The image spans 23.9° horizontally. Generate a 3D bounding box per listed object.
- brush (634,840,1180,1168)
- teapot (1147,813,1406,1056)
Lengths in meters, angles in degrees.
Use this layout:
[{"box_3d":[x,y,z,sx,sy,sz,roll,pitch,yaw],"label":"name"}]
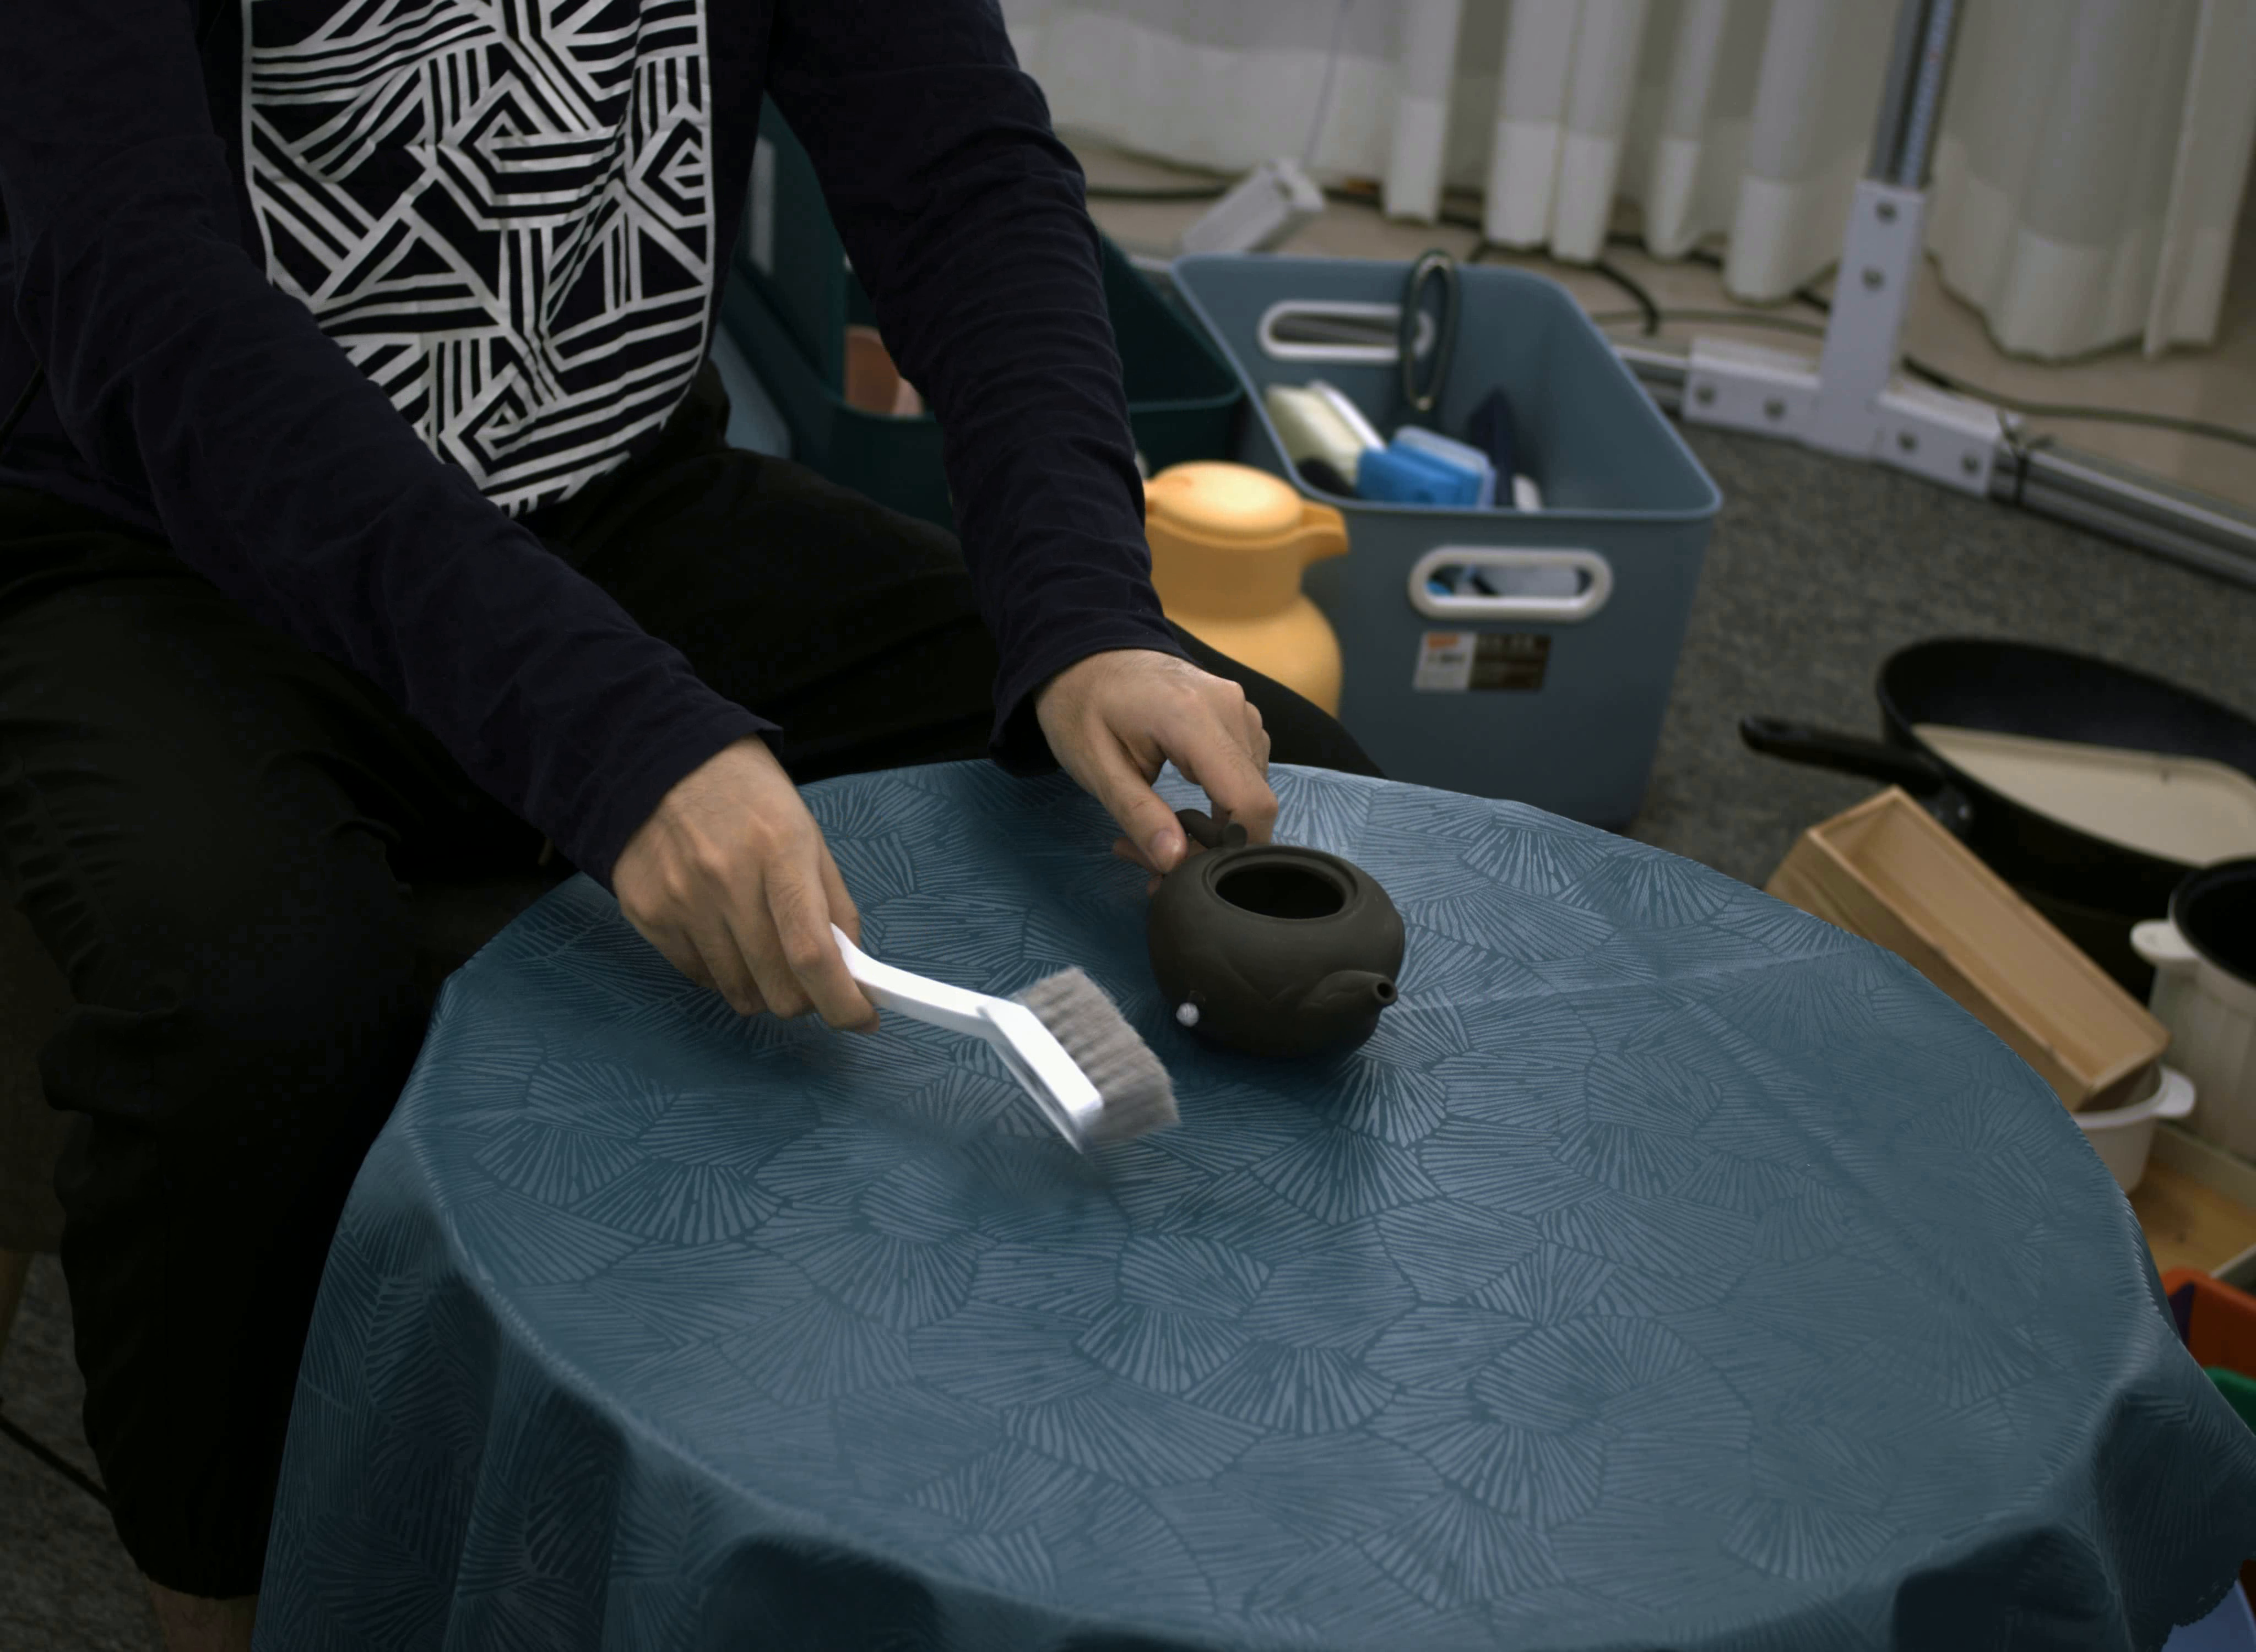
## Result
[{"box_3d":[-0.077,0.047,1.853,0.245,0.034,0.050,30,70,35],"label":"brush"},{"box_3d":[0.051,0.042,1.910,0.092,0.064,0.155,-9,30,-26],"label":"teapot"}]
